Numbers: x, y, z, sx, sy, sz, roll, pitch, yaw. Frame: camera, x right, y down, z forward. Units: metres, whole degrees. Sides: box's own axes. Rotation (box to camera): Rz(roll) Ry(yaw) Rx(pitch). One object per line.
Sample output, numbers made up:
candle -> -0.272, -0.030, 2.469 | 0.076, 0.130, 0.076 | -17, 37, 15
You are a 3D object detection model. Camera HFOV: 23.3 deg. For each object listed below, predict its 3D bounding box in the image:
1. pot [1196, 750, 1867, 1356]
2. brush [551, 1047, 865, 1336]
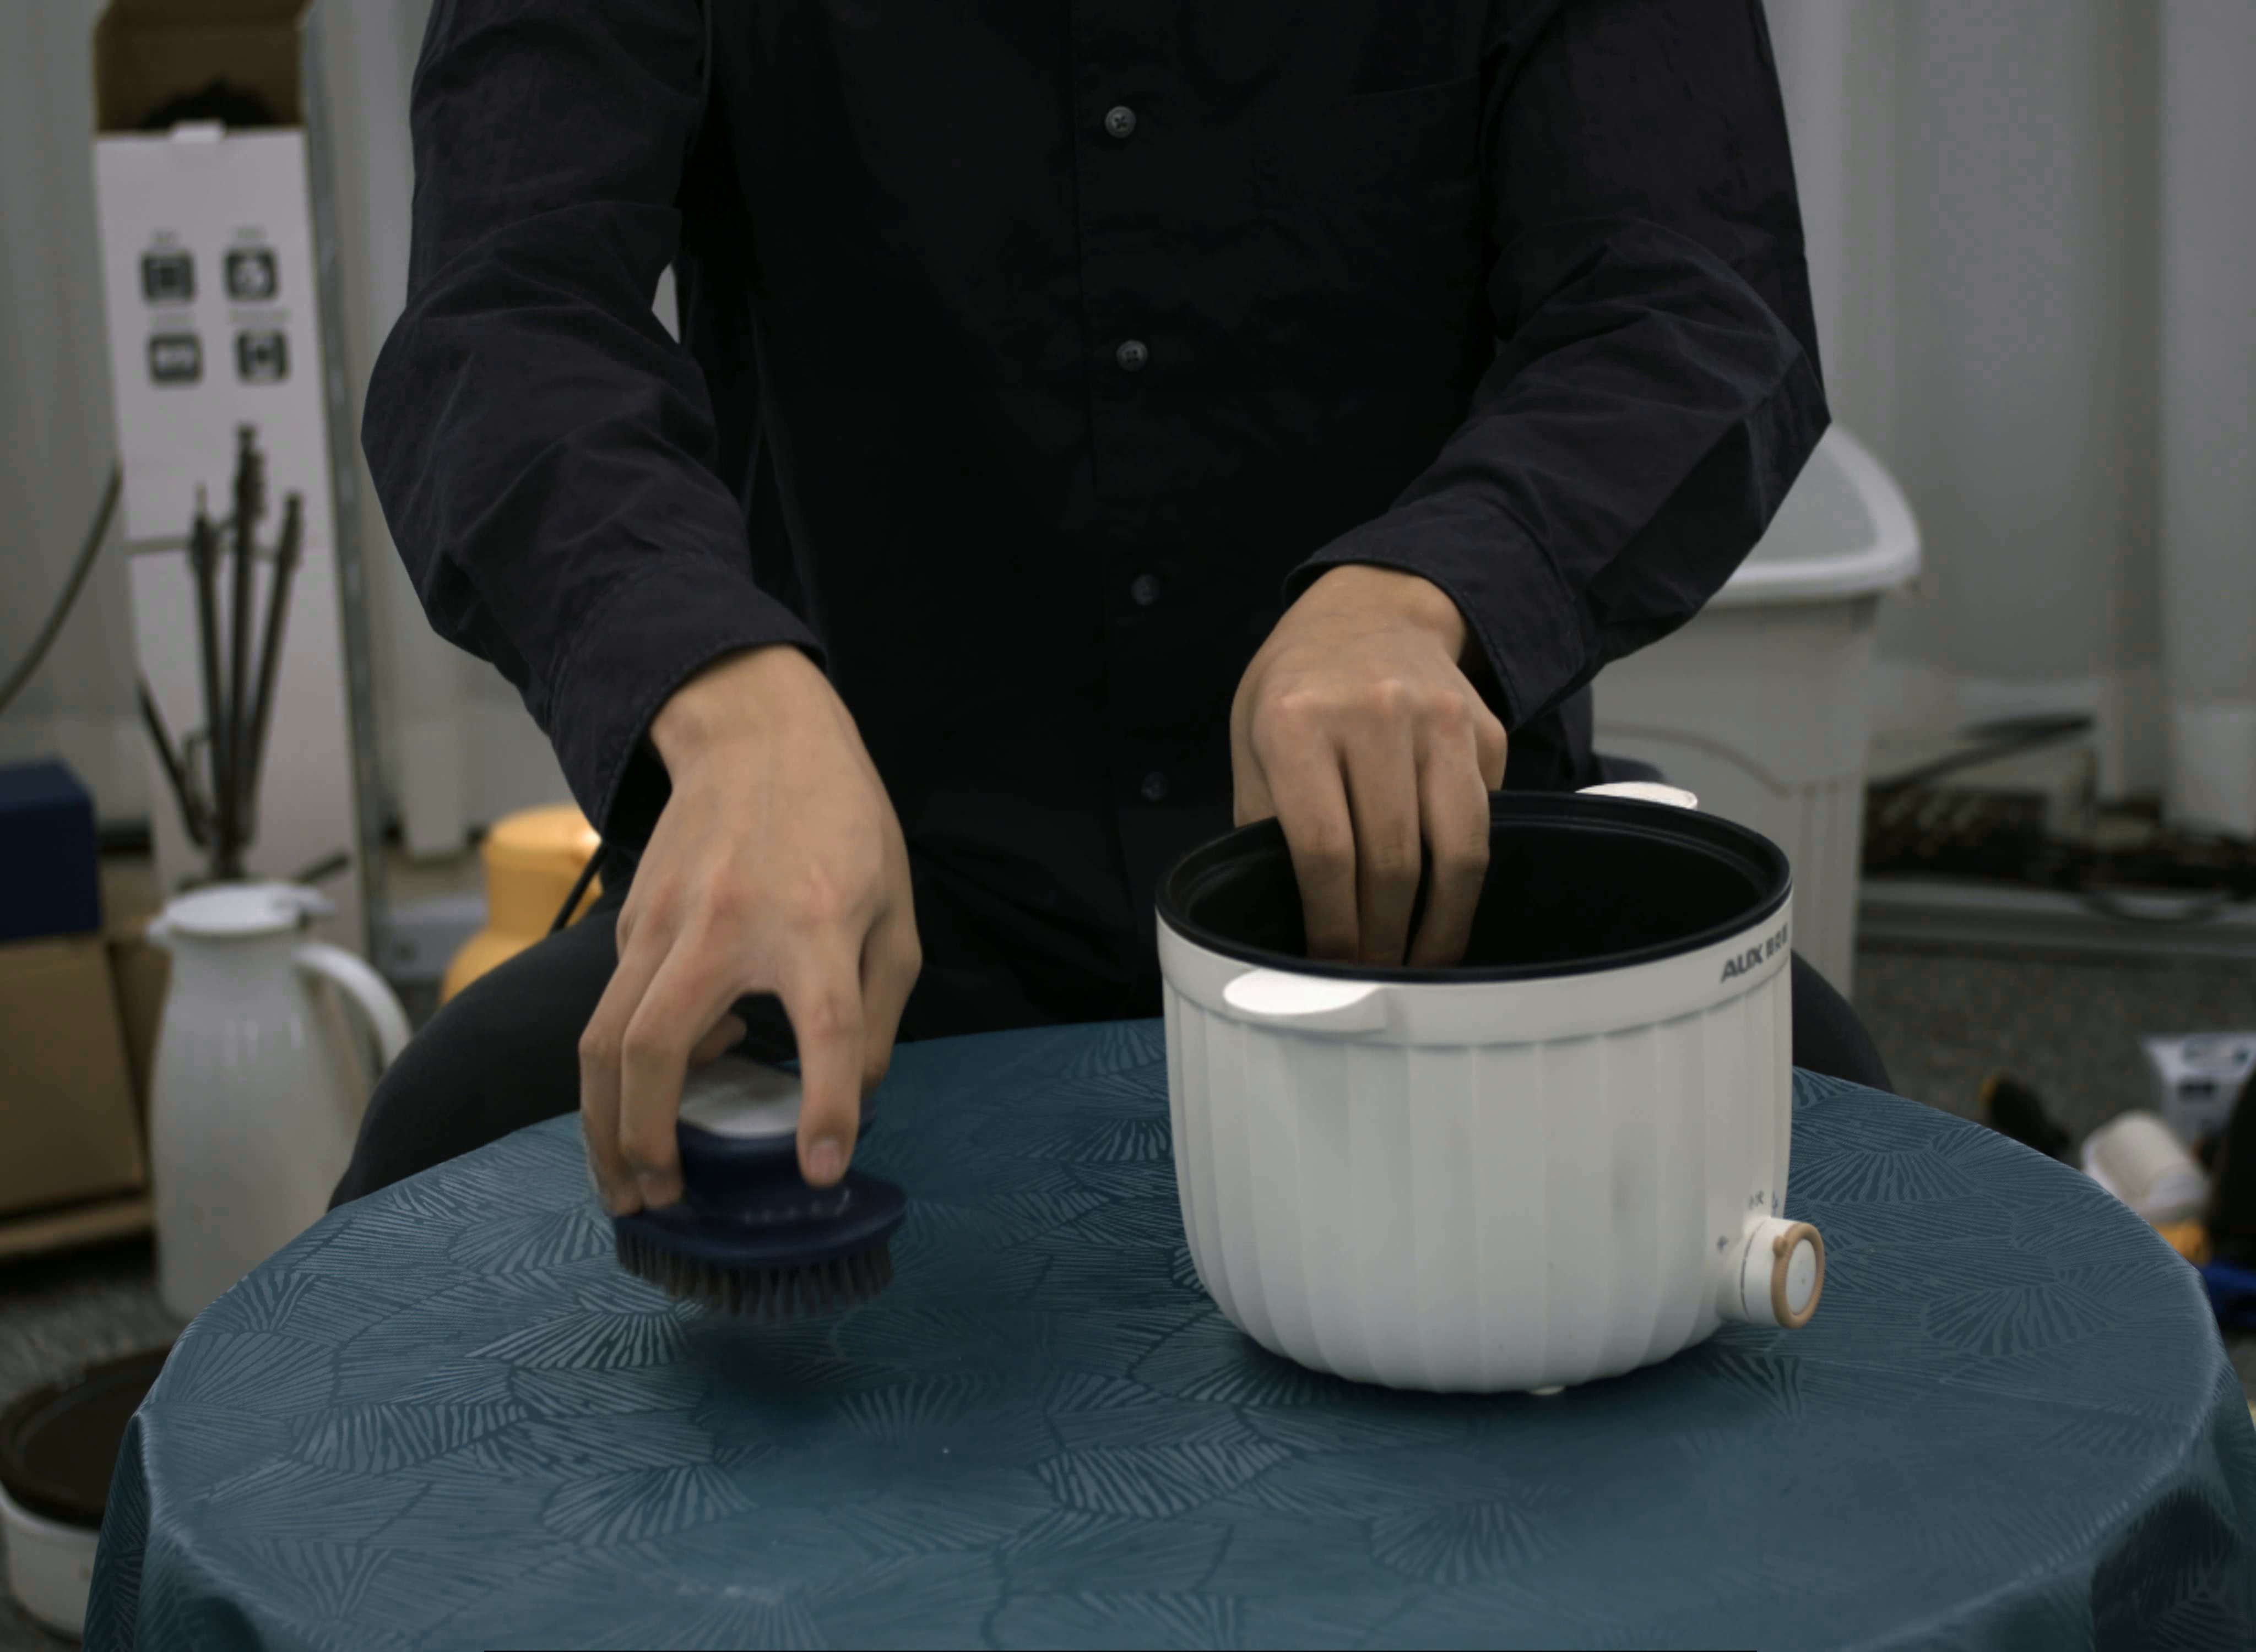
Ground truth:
pot -> 0.118, 0.069, 1.578 | 0.191, 0.142, 0.241 | 3, 17, 31
brush -> -0.122, 0.107, 1.585 | 0.068, 0.061, 0.122 | -15, 19, -27
